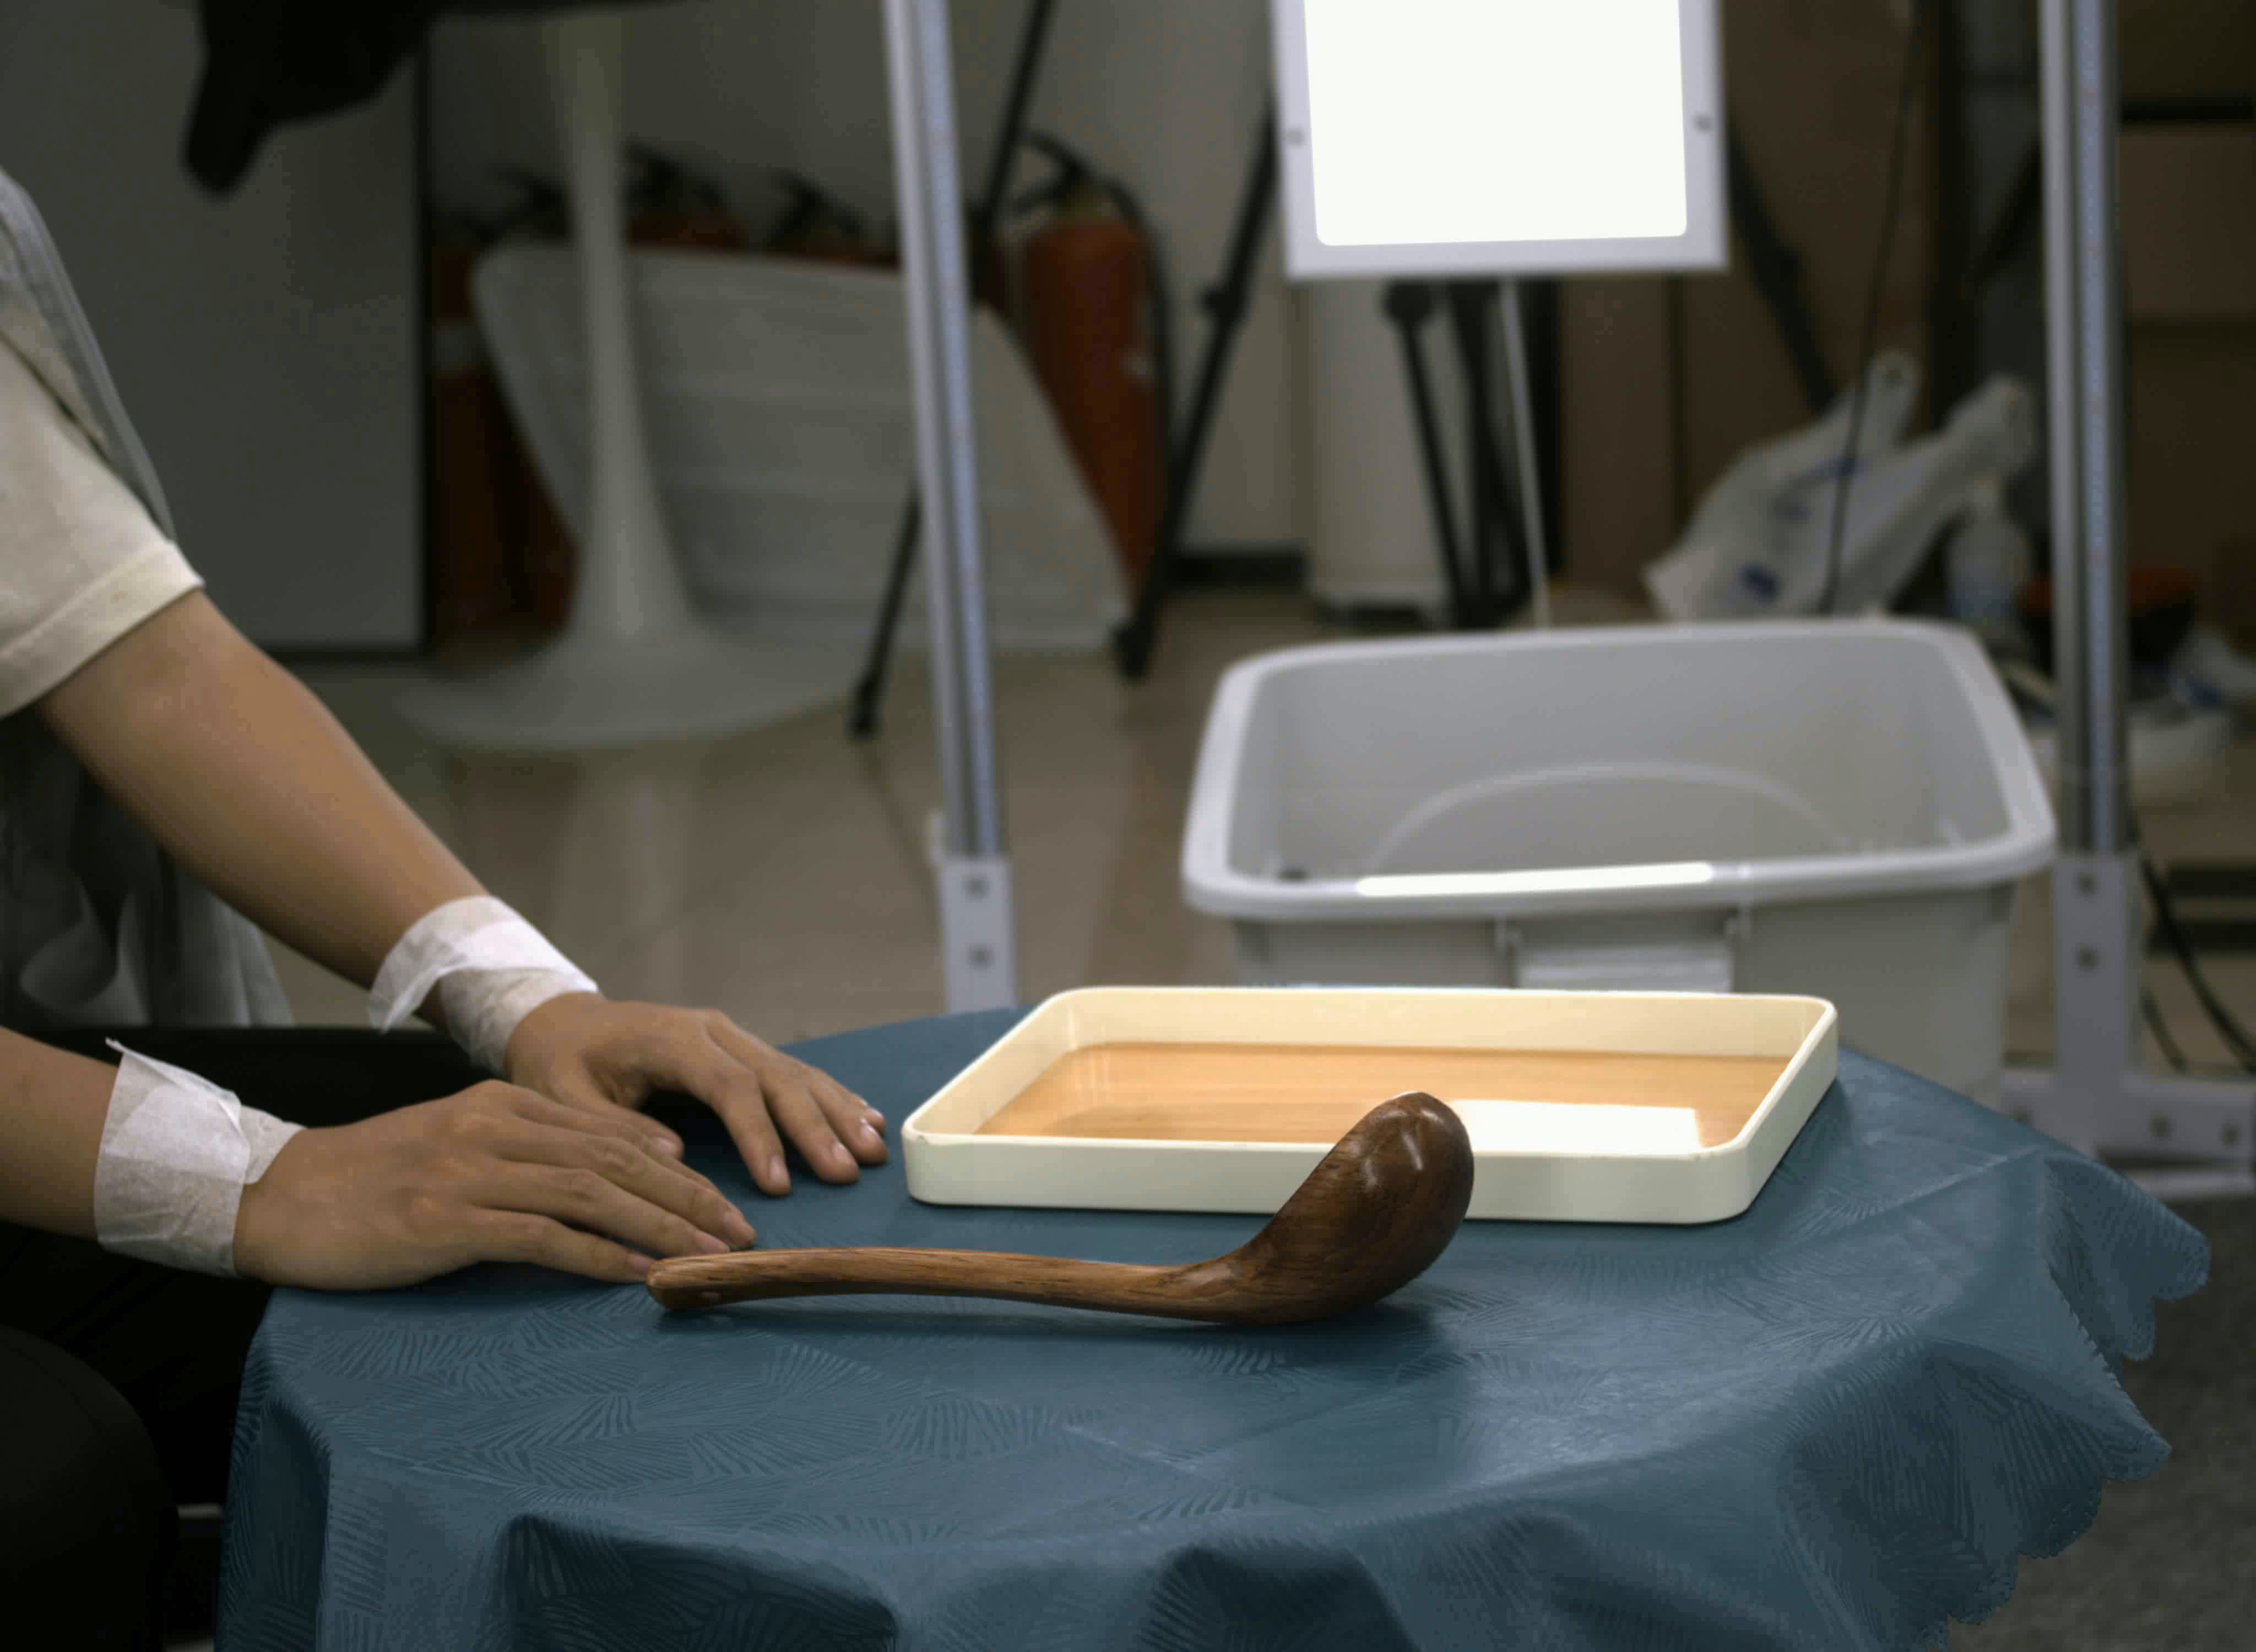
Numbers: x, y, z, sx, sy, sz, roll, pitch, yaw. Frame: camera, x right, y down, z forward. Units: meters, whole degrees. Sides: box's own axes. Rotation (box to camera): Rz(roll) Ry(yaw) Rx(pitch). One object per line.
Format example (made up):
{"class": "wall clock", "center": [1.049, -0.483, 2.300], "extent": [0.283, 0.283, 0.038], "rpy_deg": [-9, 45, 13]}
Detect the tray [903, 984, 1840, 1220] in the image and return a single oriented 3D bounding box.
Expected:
{"class": "tray", "center": [0.089, 0.095, 1.933], "extent": [0.304, 0.027, 0.188], "rpy_deg": [0, 15, 21]}

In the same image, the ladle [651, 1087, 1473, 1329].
{"class": "ladle", "center": [-0.023, 0.122, 1.777], "extent": [0.278, 0.076, 0.081], "rpy_deg": [-1, -25, 21]}
